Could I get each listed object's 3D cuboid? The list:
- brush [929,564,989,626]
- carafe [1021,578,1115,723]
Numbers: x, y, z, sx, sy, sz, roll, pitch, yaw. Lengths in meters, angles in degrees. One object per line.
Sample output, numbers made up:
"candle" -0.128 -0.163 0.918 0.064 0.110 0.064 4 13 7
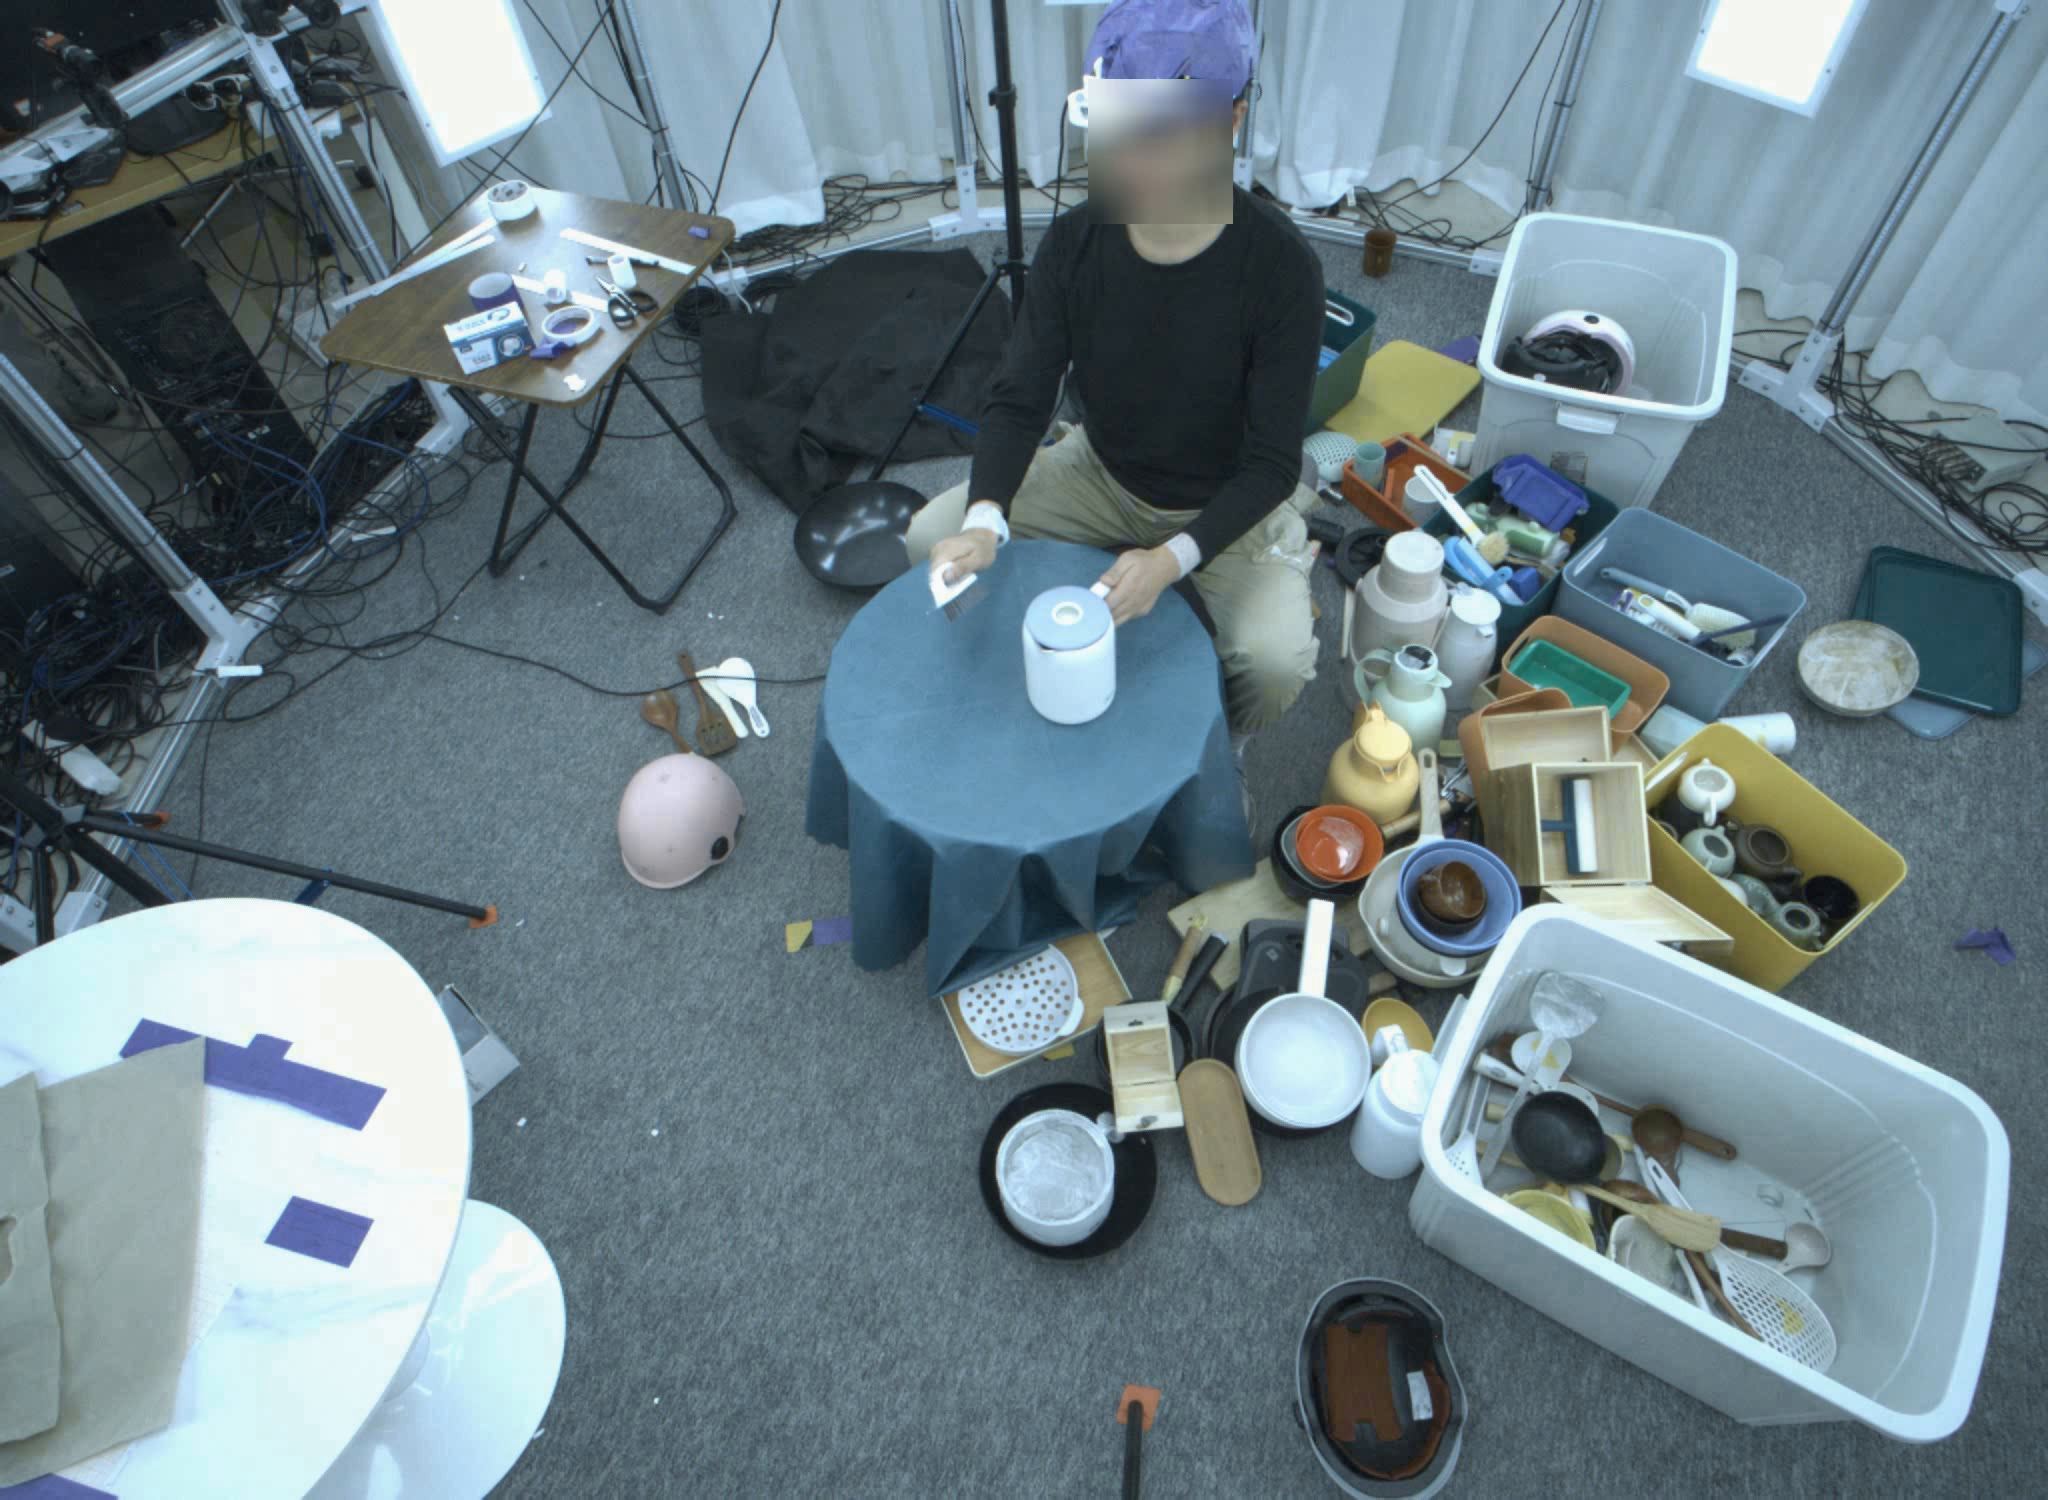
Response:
"brush" -0.100 -0.228 1.745 0.073 0.049 0.099 53 34 -10
"carafe" 0.077 -0.155 1.789 0.130 0.184 0.191 23 58 18
